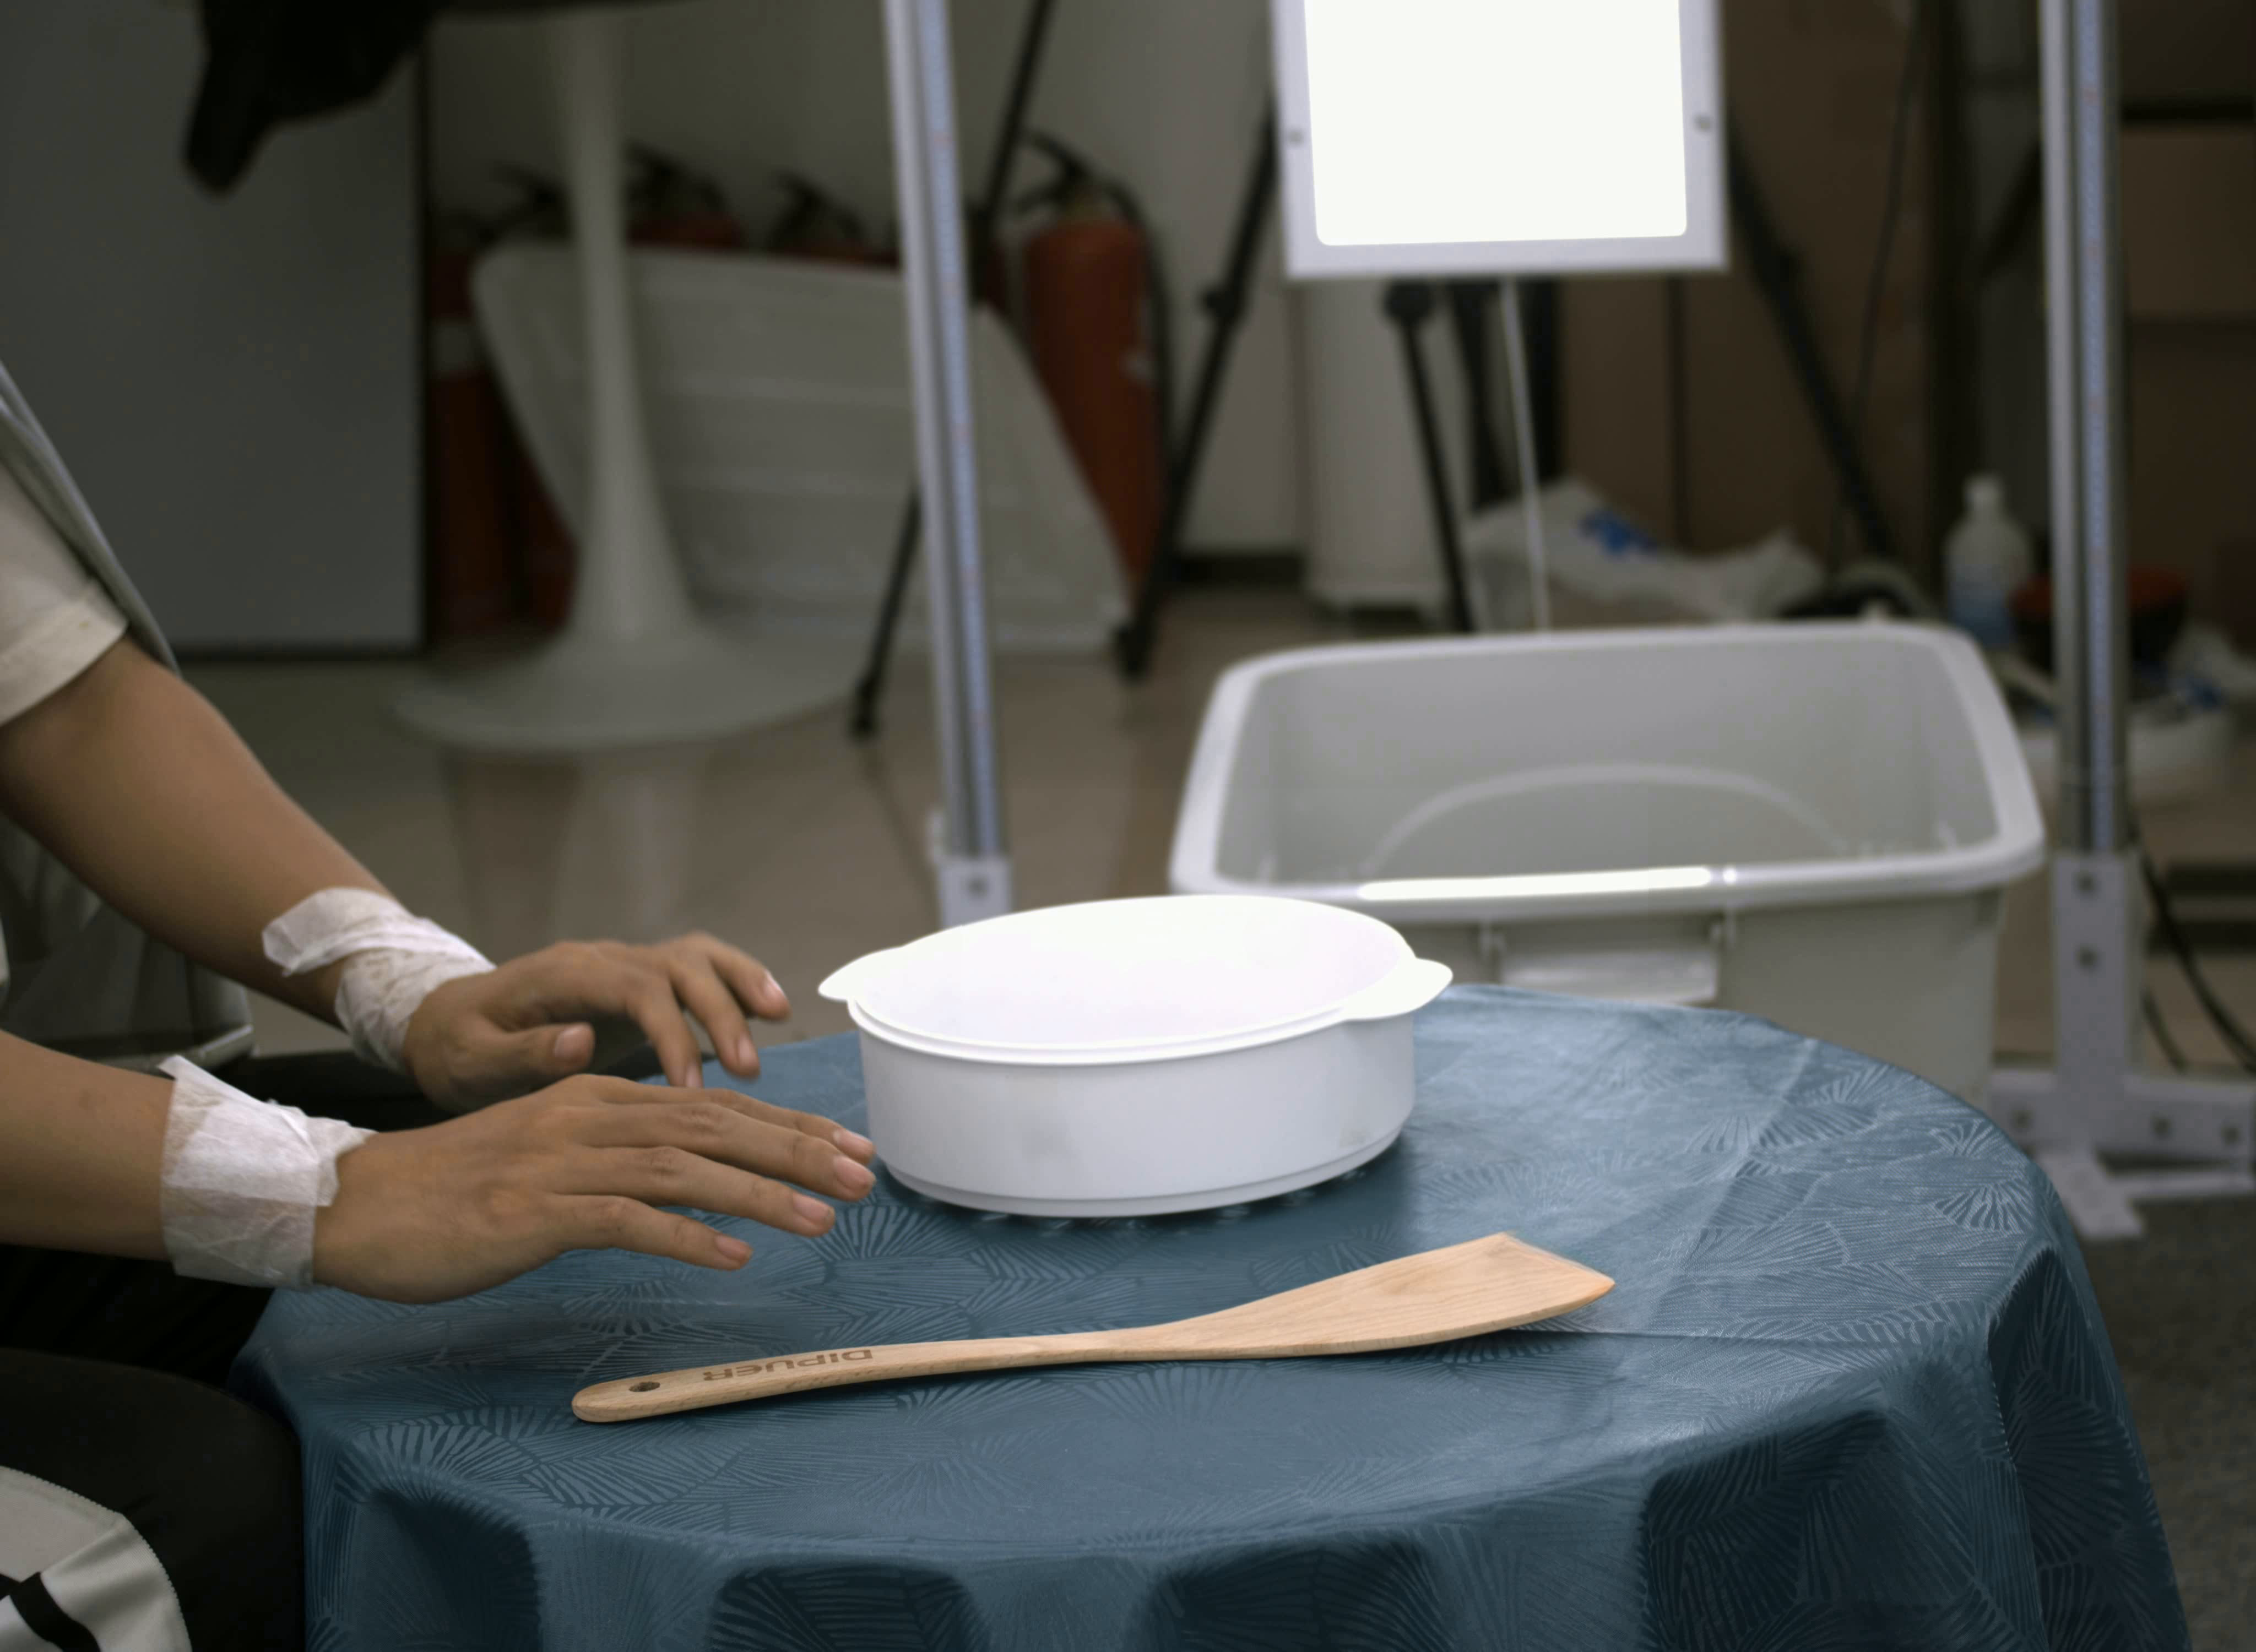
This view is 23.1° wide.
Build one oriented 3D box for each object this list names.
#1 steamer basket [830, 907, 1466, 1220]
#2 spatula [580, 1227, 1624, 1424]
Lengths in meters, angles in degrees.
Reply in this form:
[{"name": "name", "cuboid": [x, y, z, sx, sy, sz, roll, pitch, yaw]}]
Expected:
[{"name": "steamer basket", "cuboid": [0.008, 0.083, 1.935, 0.234, 0.069, 0.198, 0, 13, 24]}, {"name": "spatula", "cuboid": [-0.010, 0.159, 1.731, 0.325, 0.016, 0.080, -6, 13, -4]}]
